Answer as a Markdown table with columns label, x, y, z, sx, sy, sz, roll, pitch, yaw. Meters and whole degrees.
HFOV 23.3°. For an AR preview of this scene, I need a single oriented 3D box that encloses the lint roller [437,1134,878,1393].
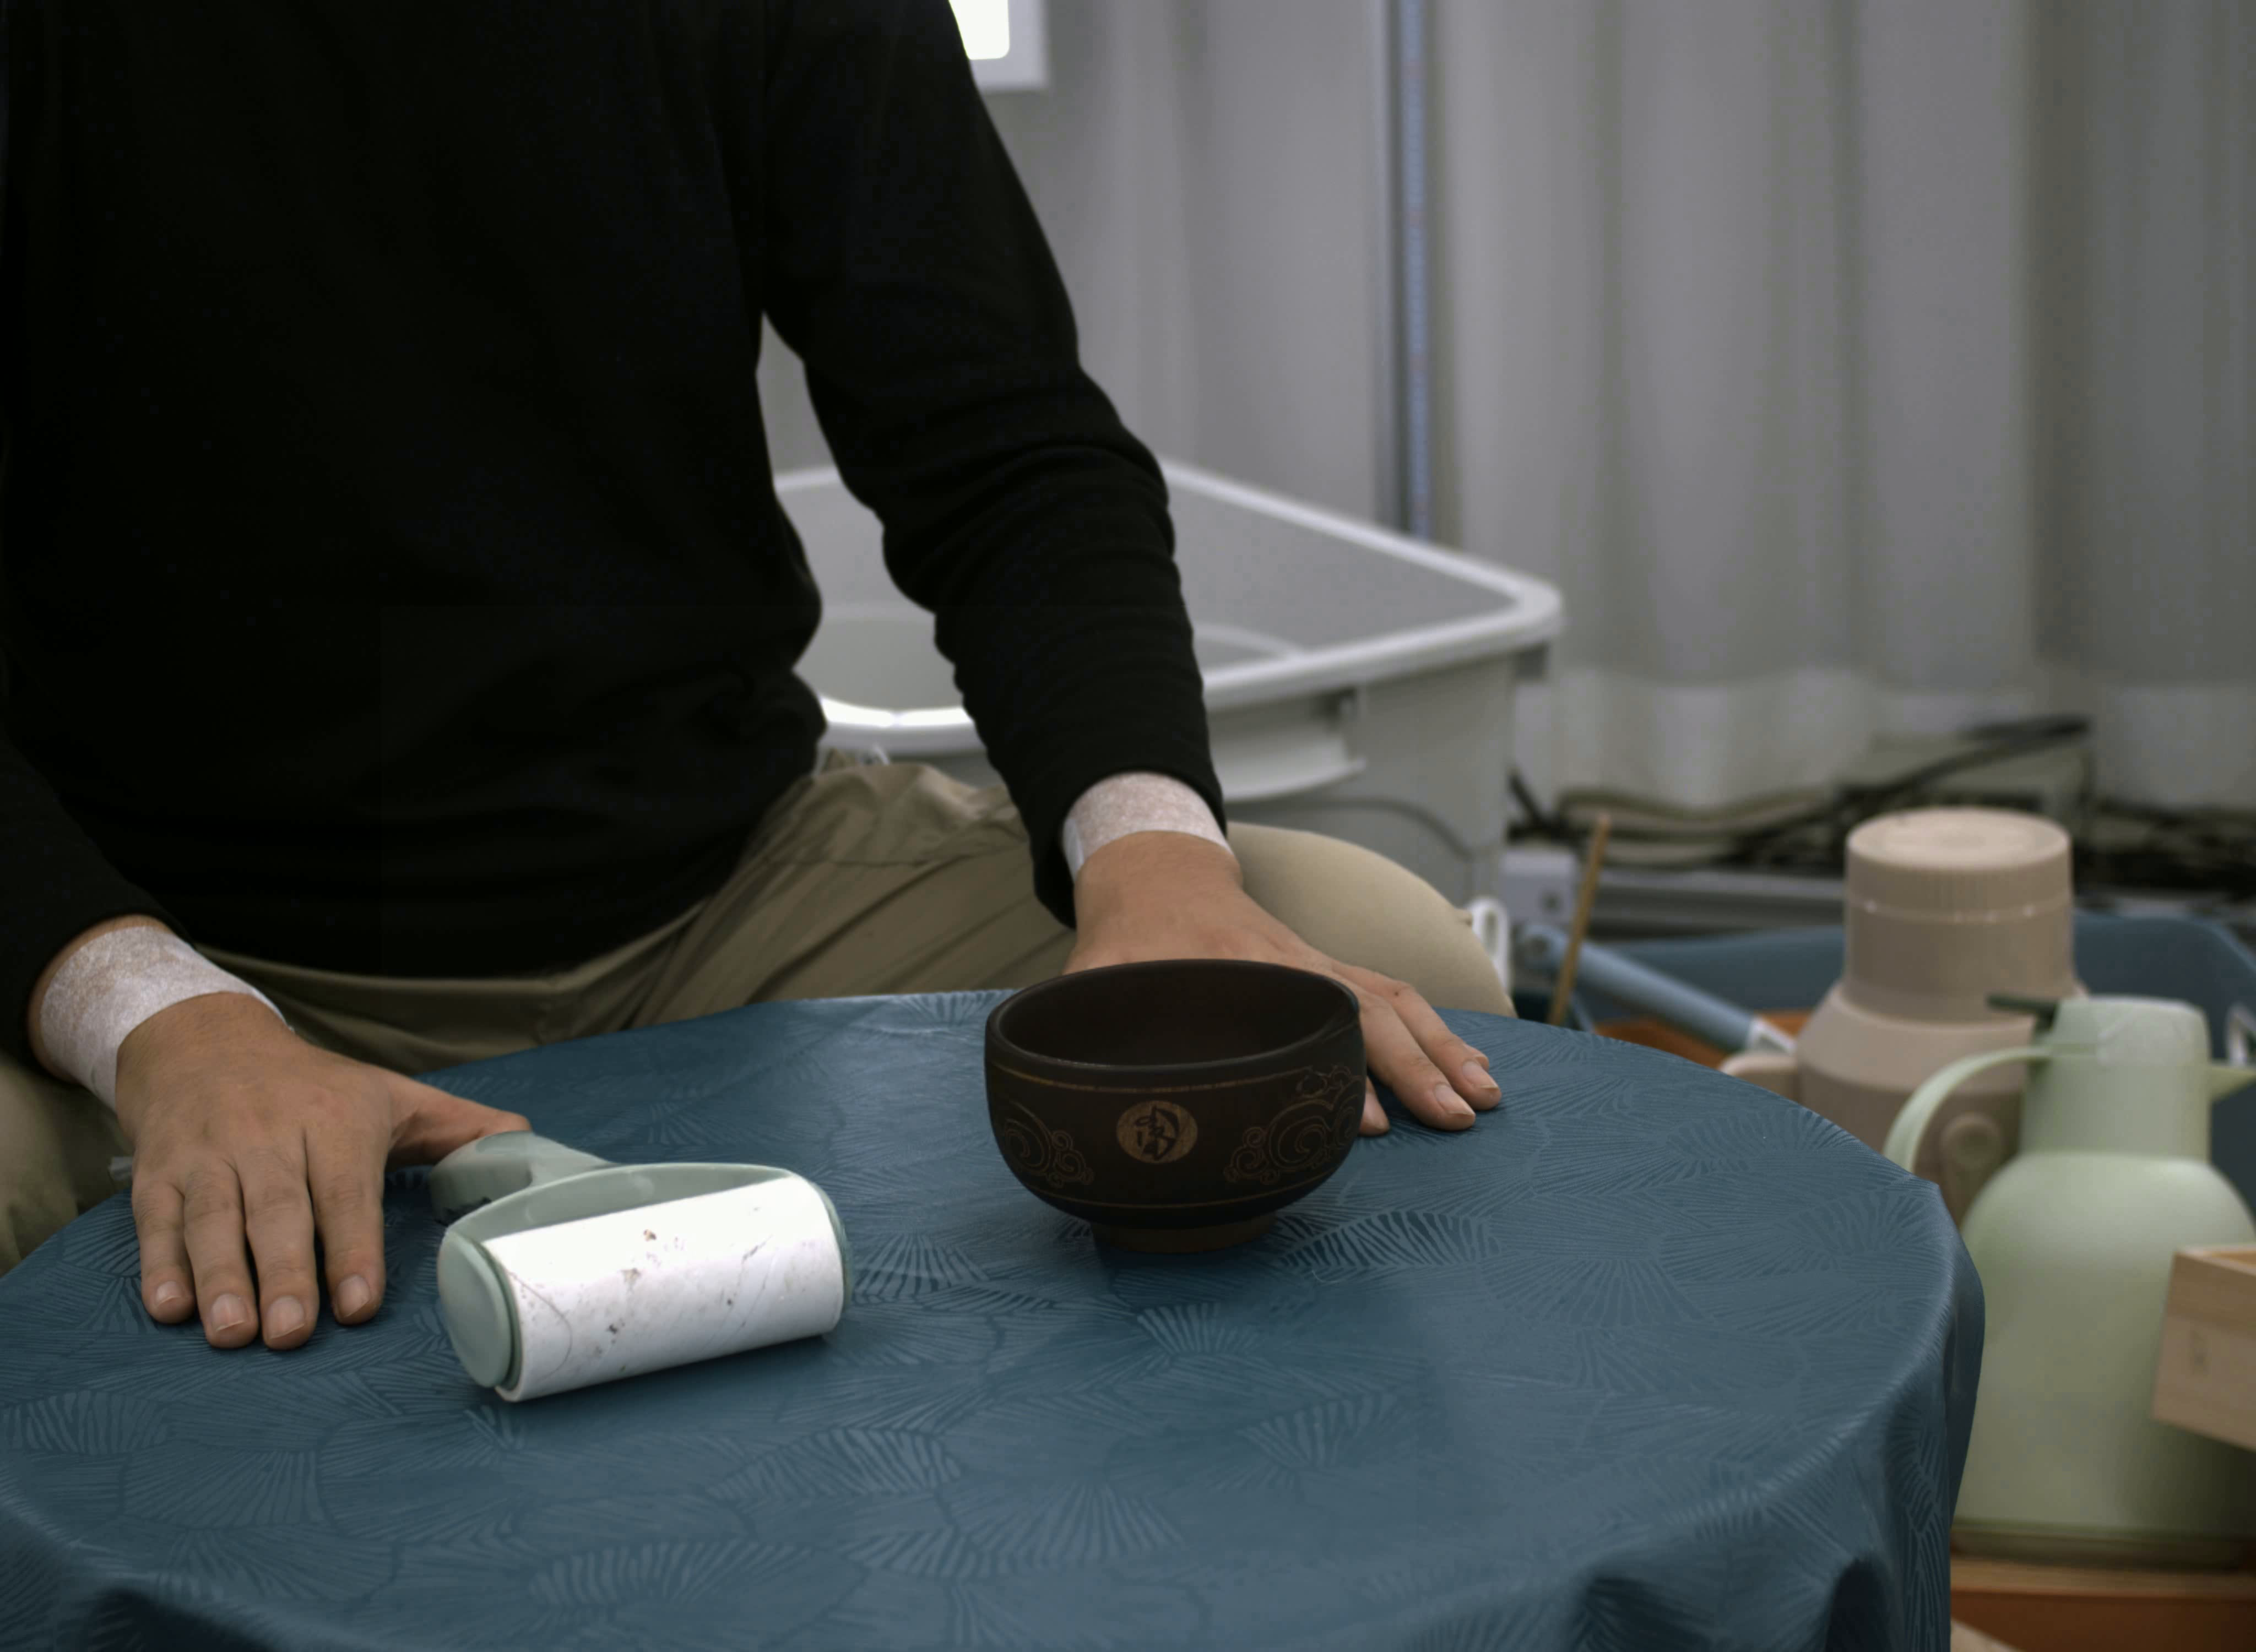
| label | x | y | z | sx | sy | sz | roll | pitch | yaw |
| --- | --- | --- | --- | --- | --- | --- | --- | --- | --- |
| lint roller | -0.163 | 0.118 | 1.647 | 0.116 | 0.048 | 0.199 | -11 | 15 | -25 |

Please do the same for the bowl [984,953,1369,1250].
| label | x | y | z | sx | sy | sz | roll | pitch | yaw |
| --- | --- | --- | --- | --- | --- | --- | --- | --- | --- |
| bowl | 0.016 | 0.088 | 1.672 | 0.117 | 0.069 | 0.119 | -4 | 14 | 1 |
